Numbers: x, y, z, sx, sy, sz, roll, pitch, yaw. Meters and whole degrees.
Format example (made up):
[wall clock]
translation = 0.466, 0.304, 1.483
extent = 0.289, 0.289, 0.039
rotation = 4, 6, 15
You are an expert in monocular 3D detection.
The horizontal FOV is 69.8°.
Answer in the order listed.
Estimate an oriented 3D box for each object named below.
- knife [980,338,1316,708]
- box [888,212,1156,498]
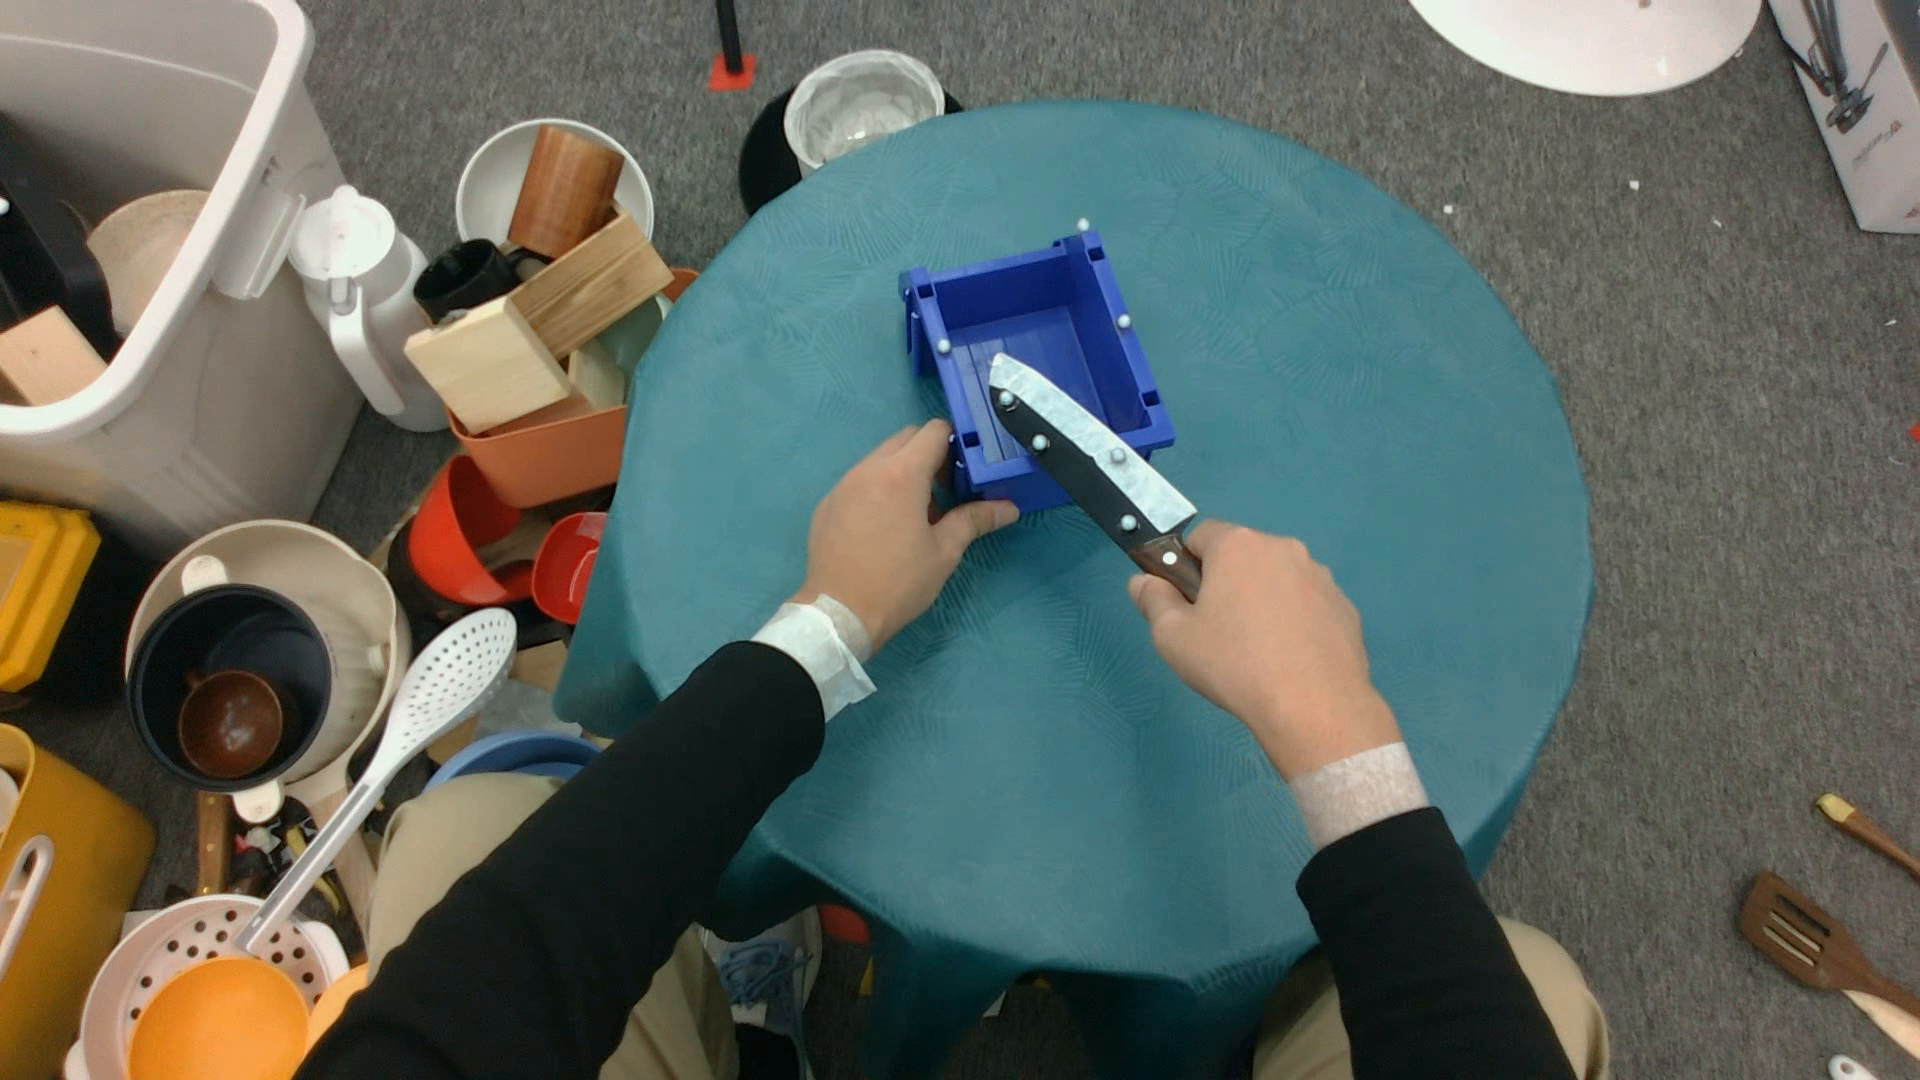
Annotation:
[knife]
translation = 0.089, -0.022, 0.724
extent = 0.050, 0.020, 0.289
rotation = -30, 55, -10
[box]
translation = 0.030, -0.119, 0.844
extent = 0.124, 0.081, 0.180
rotation = -12, 68, -7
